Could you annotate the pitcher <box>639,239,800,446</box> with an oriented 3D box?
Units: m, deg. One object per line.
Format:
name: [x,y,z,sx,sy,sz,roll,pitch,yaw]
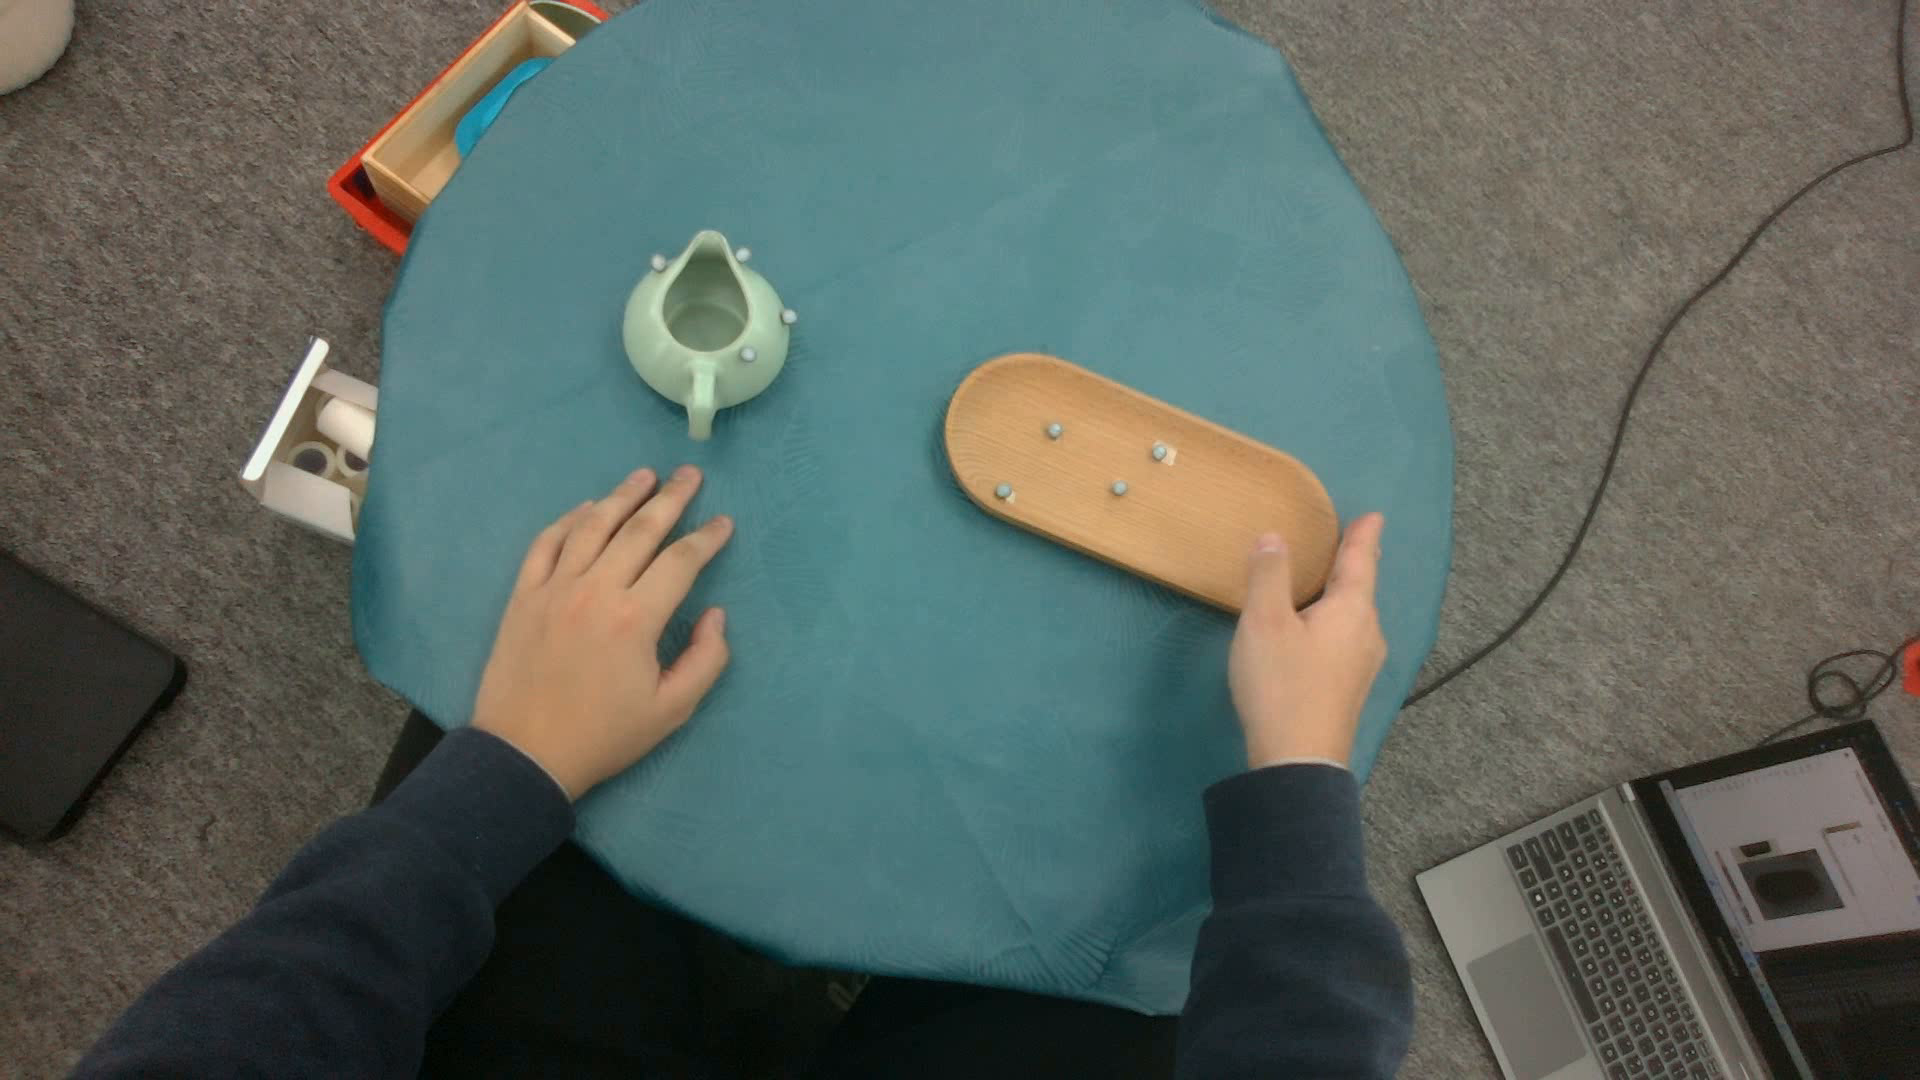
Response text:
pitcher: [-0.129,-0.101,0.737,0.086,0.060,0.108,1,78,-8]

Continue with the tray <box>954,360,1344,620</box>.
tray: [0.107,-0.028,0.774,0.231,0.020,0.102,22,70,-4]
